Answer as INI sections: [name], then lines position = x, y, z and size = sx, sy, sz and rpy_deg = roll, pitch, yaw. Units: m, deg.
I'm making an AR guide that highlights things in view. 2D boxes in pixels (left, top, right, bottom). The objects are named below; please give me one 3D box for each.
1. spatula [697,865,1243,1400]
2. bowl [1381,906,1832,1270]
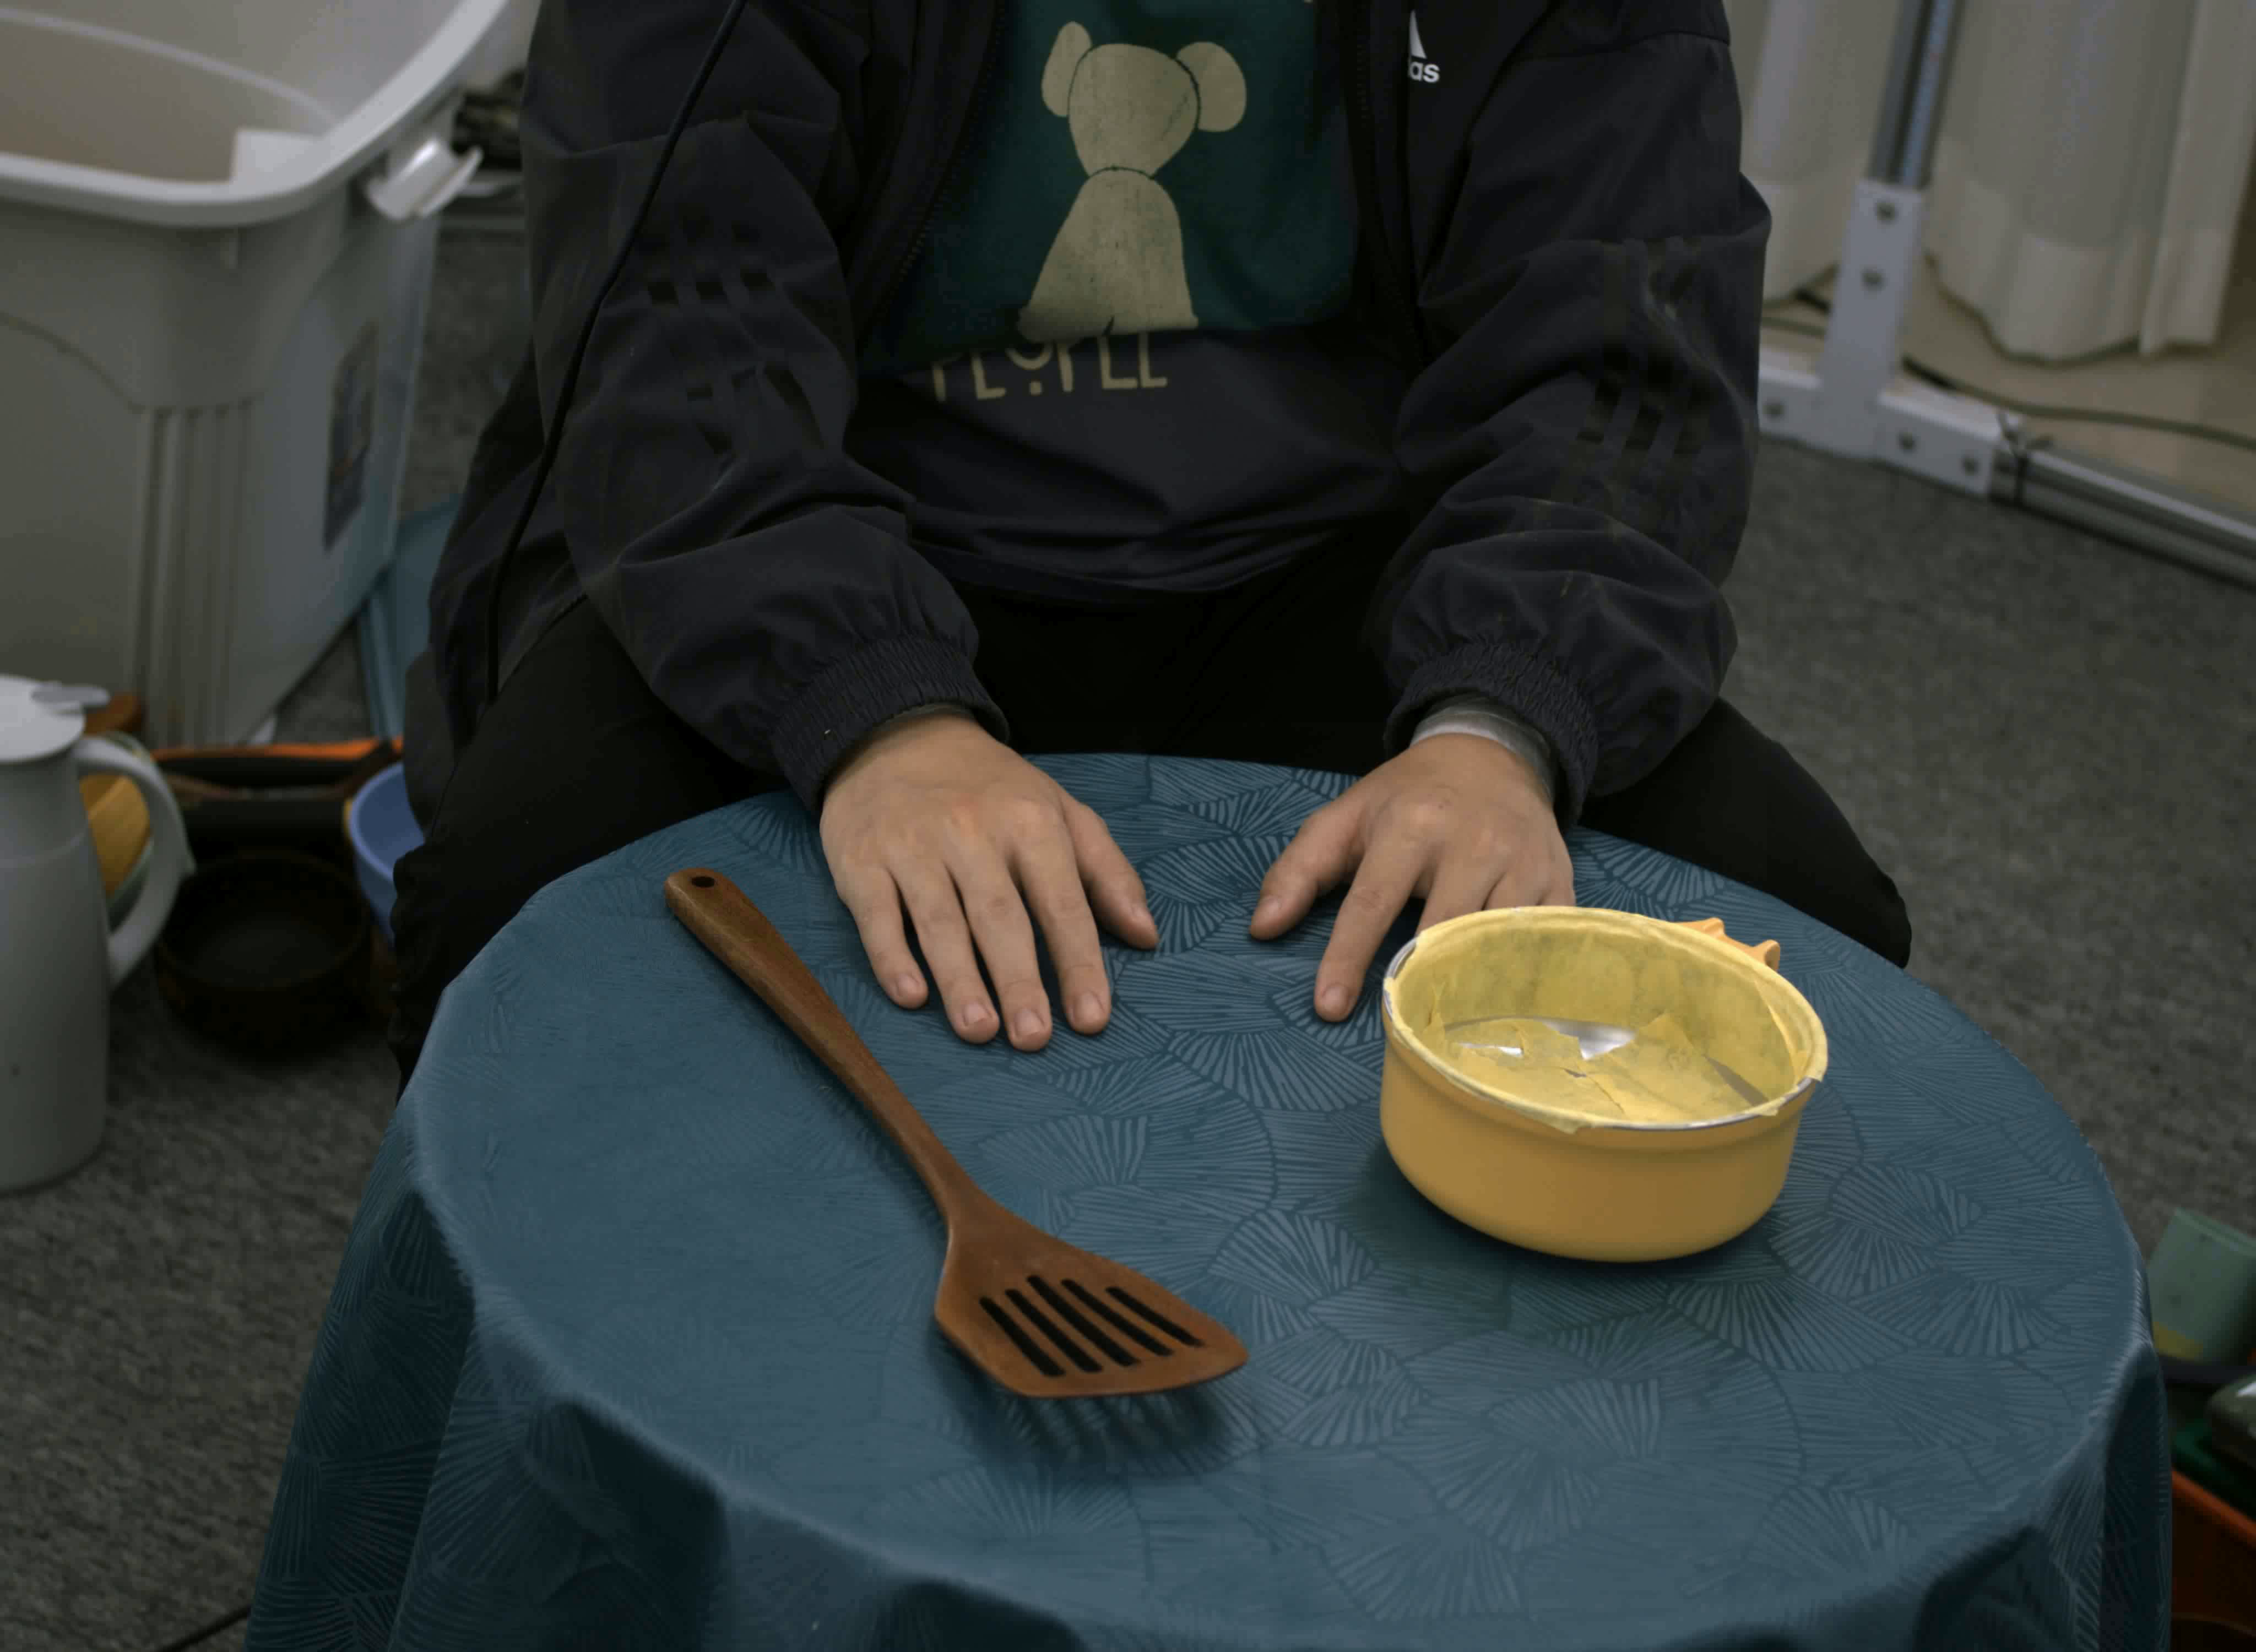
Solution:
[spatula]
position = -0.074, 0.102, 1.810
size = 0.085, 0.024, 0.390
rpy_deg = -6, 28, -24
[bowl]
position = 0.169, 0.089, 1.840
size = 0.153, 0.074, 0.179
rpy_deg = 20, 30, 25
